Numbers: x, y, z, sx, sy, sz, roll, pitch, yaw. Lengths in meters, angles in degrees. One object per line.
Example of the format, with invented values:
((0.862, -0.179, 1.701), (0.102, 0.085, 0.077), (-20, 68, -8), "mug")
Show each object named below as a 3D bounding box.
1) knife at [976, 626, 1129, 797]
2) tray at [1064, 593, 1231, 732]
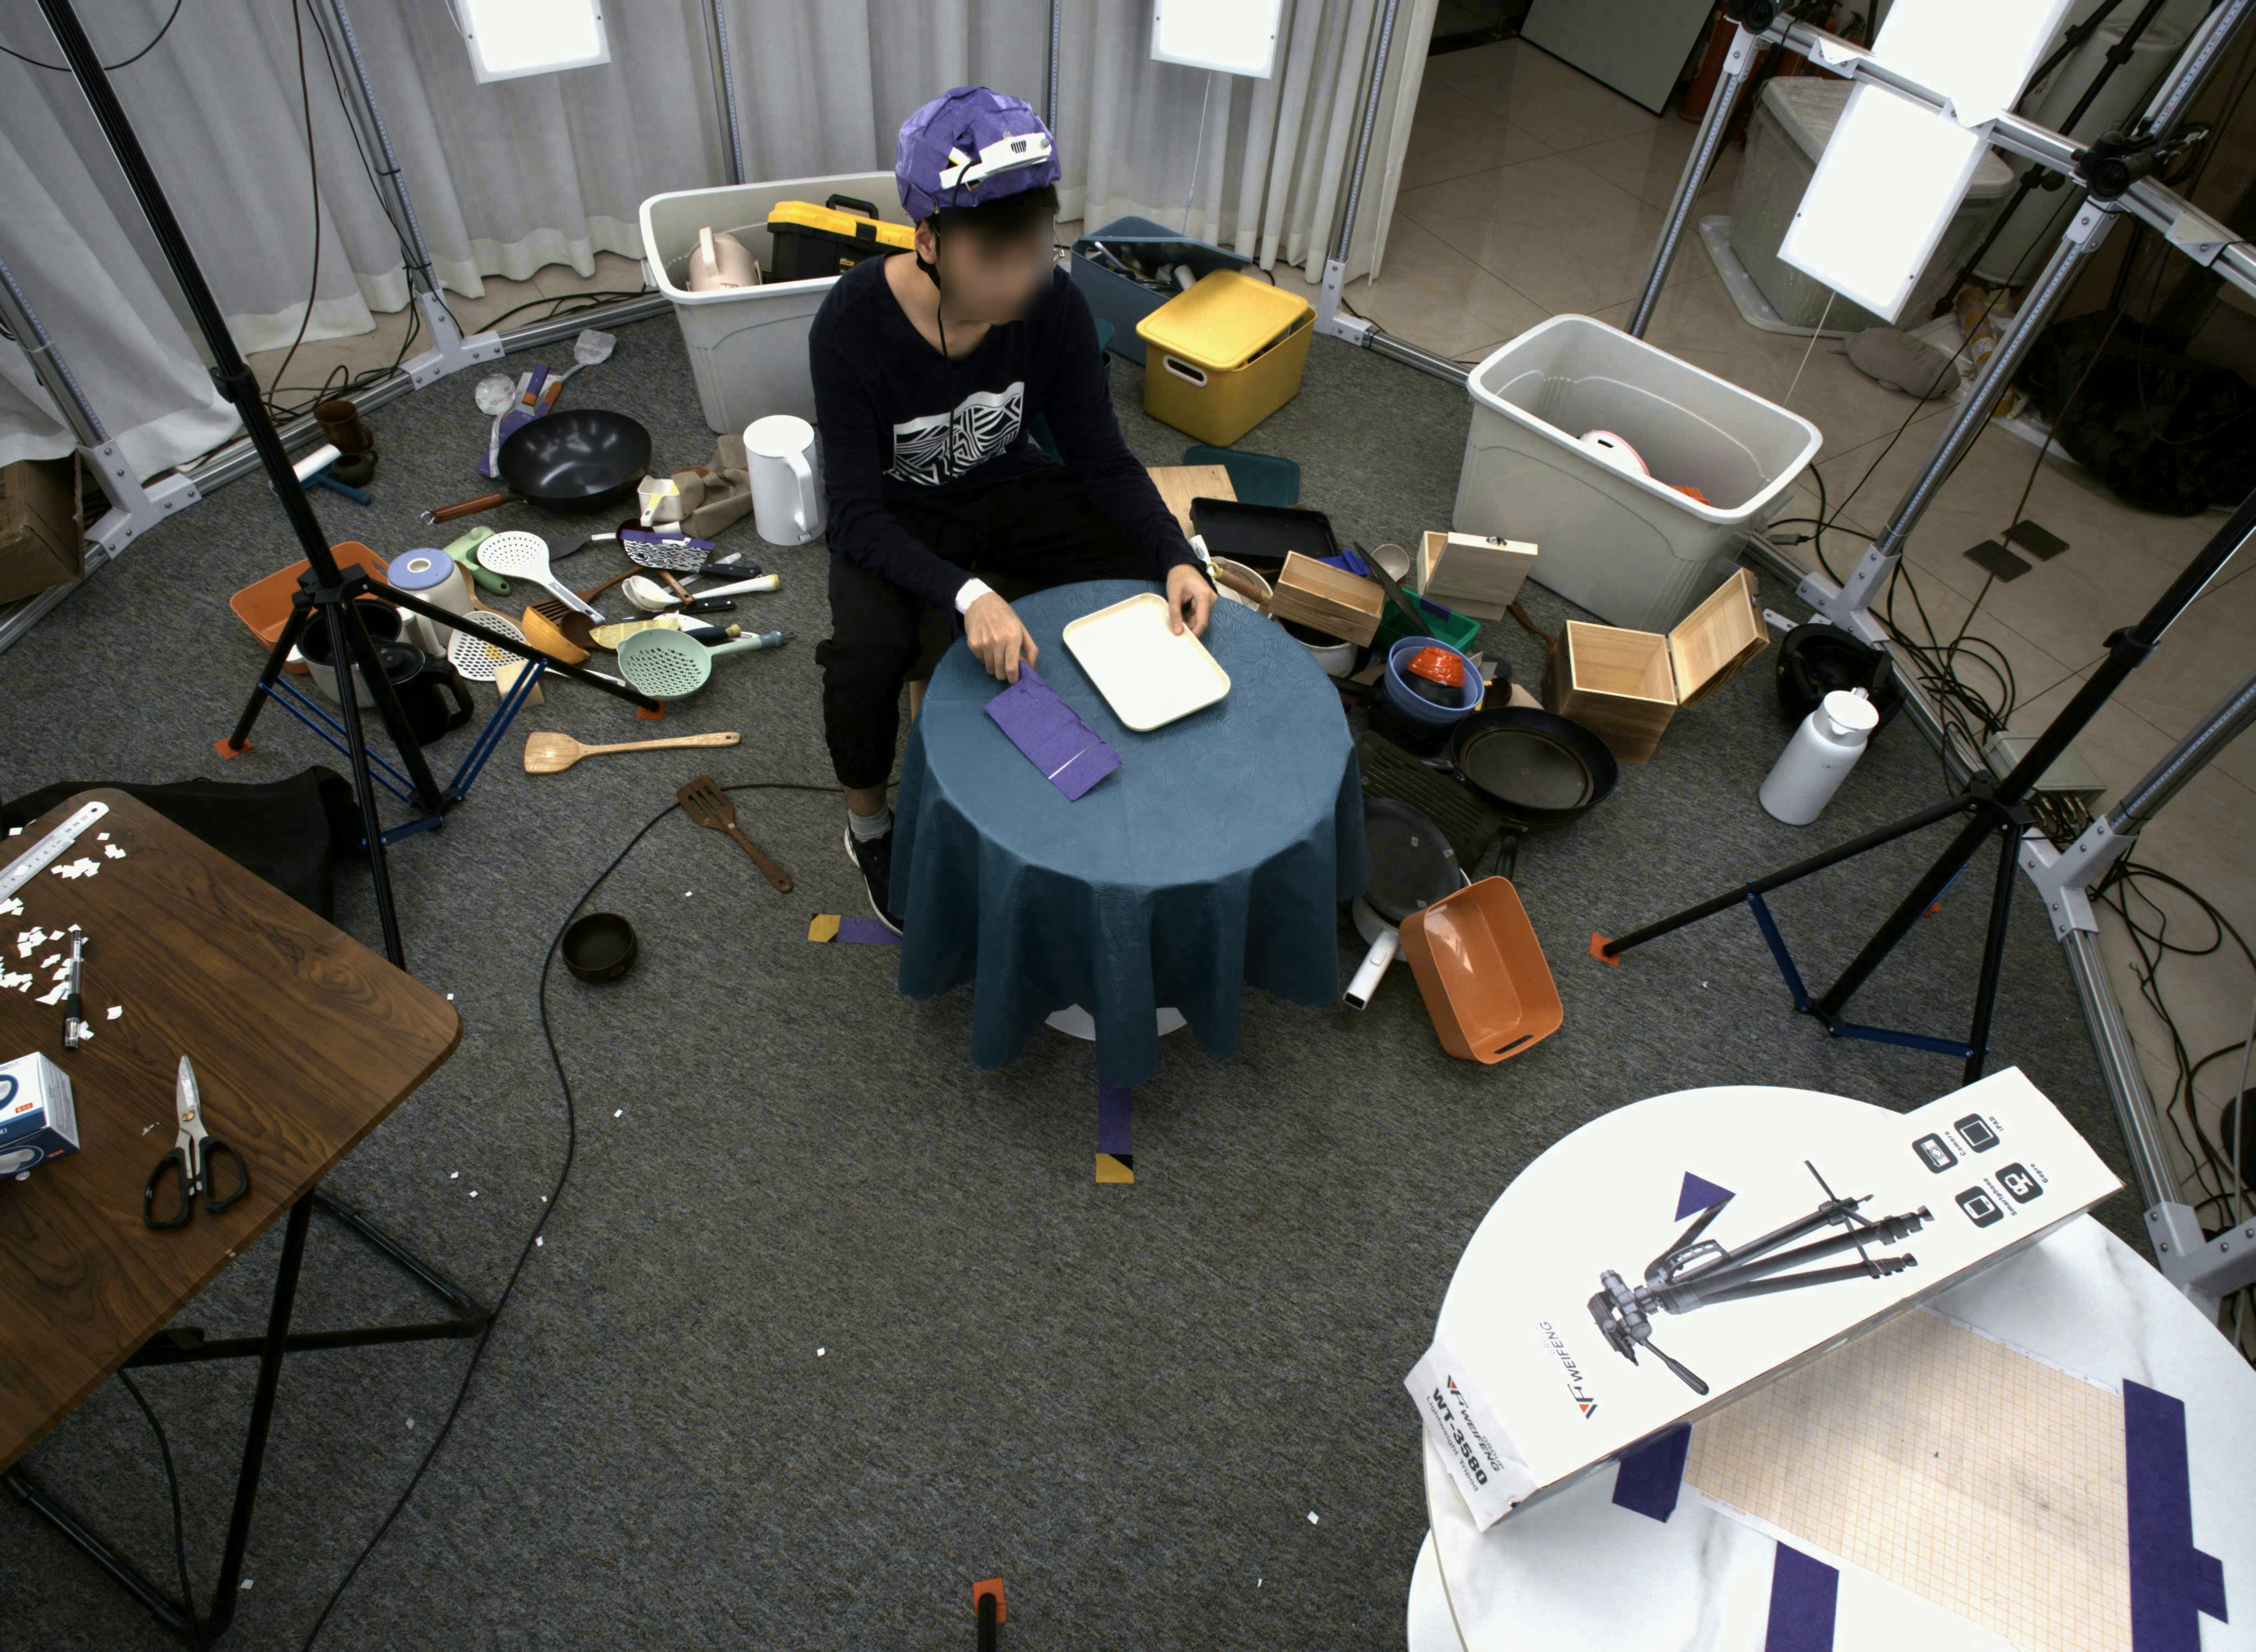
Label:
((-0.134, -0.161, 1.770), (0.104, 0.031, 0.321), (-36, 59, -14), "knife")
((0.026, -0.237, 1.854), (0.172, 0.017, 0.245), (-24, 55, -14), "tray")
